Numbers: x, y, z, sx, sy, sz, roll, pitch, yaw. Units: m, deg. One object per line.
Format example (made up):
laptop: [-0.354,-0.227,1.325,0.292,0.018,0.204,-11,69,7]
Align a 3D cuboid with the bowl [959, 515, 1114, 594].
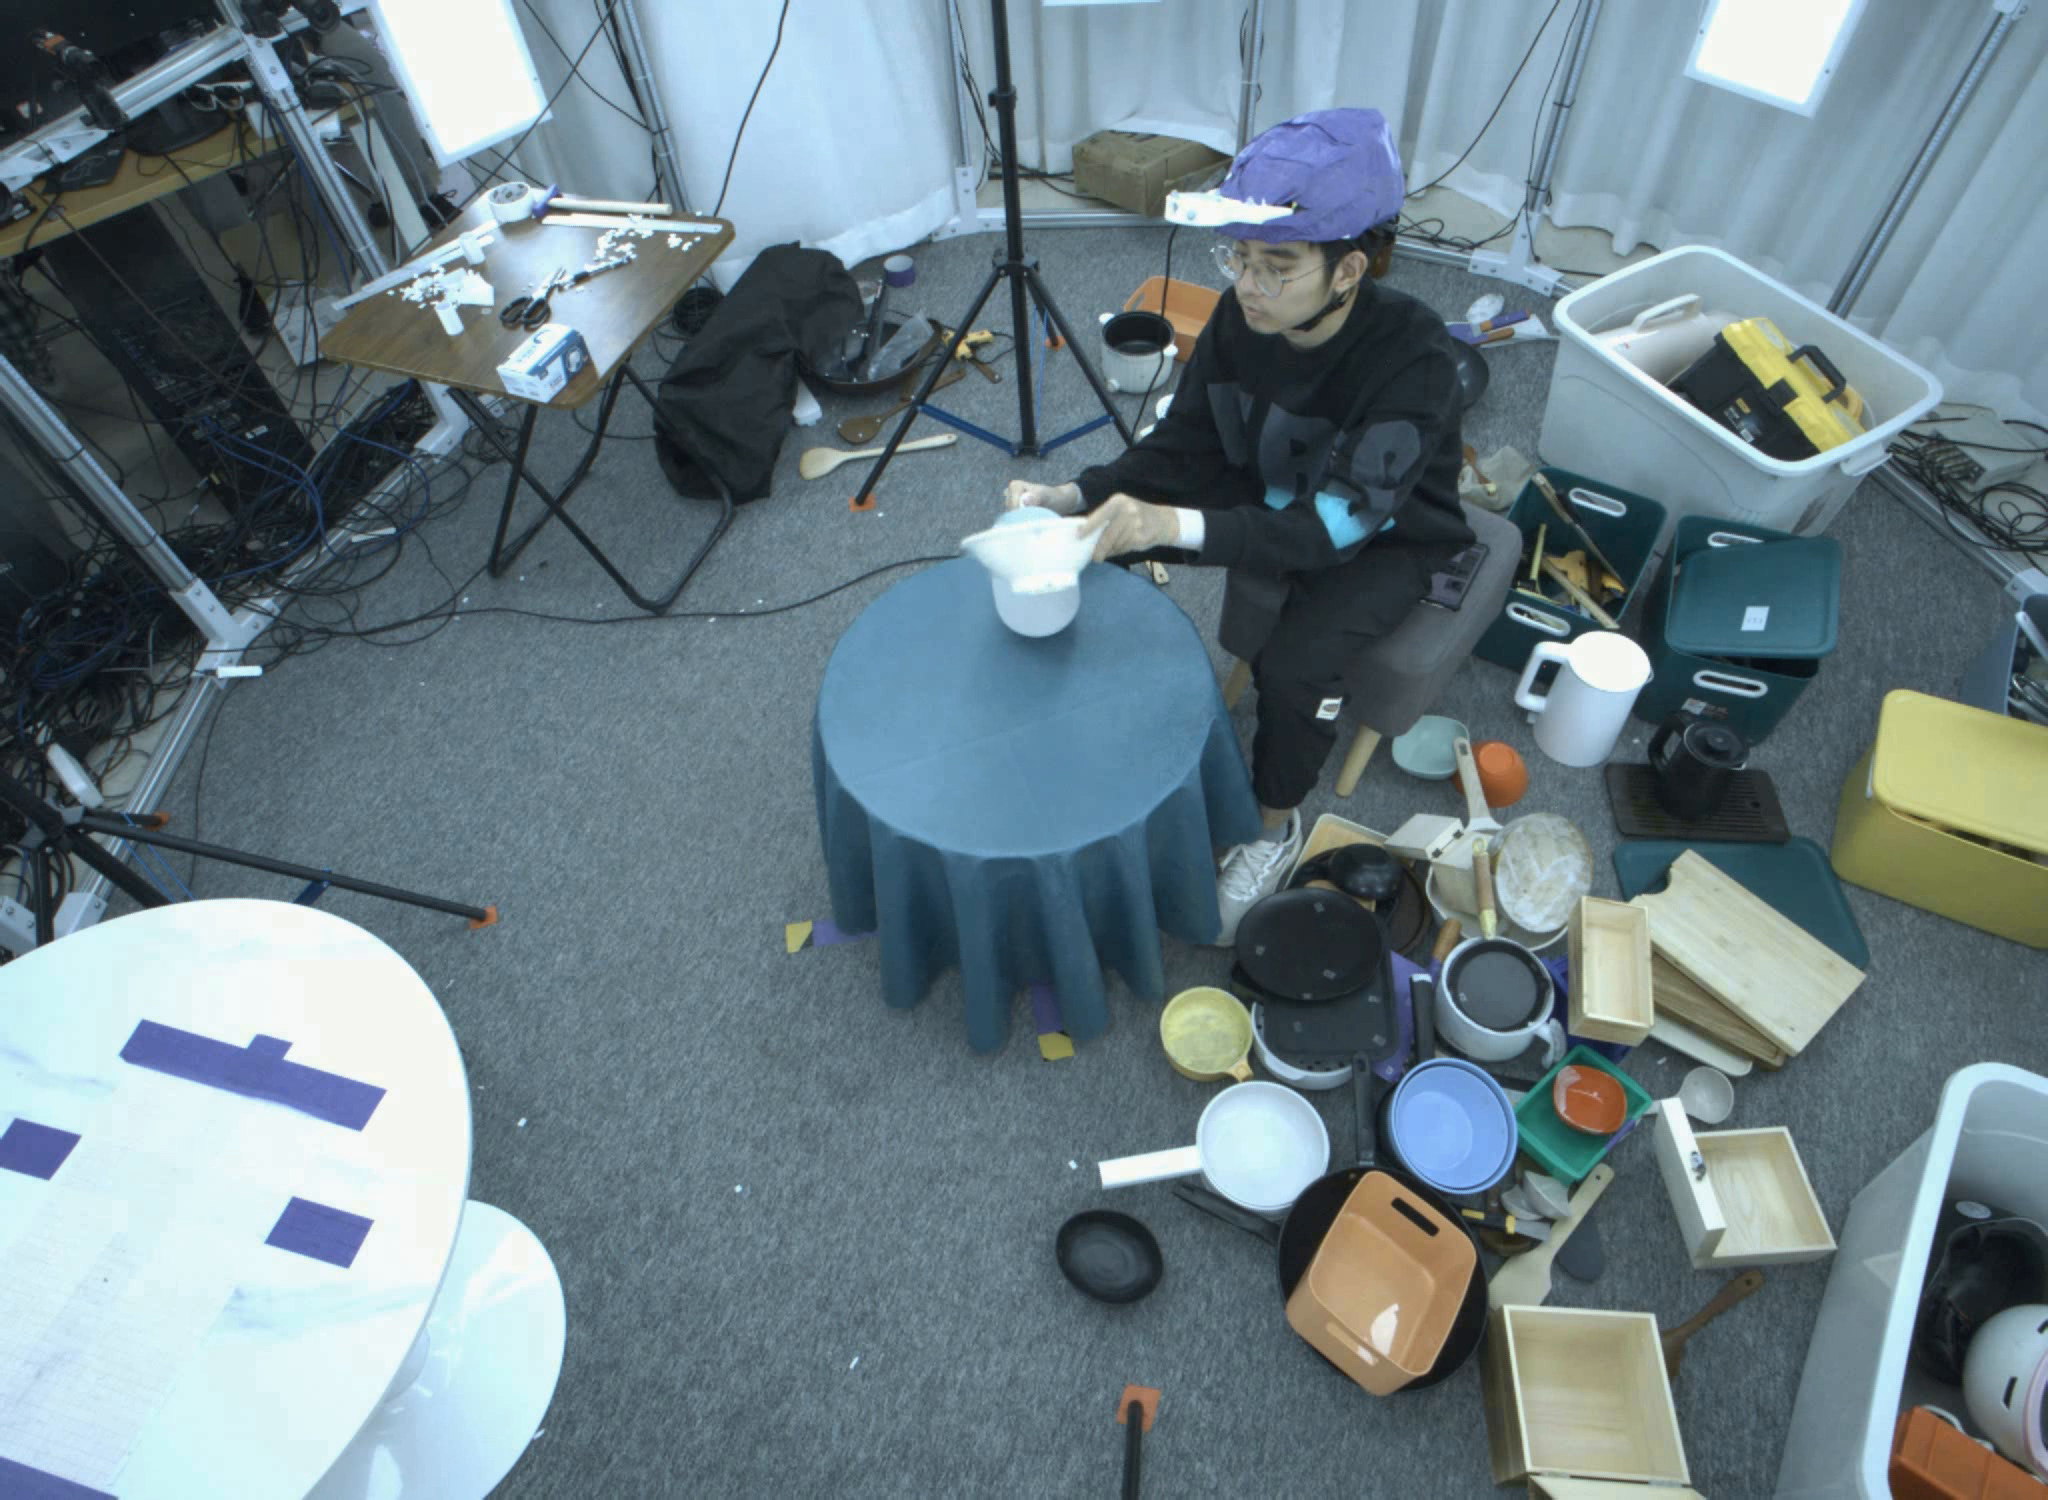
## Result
bowl: [0.018,-0.249,1.604,0.204,0.204,0.078,-5,89,0]

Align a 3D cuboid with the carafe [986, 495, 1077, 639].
carafe: [0.008,-0.284,1.840,0.132,0.184,0.189,-8,60,-2]
